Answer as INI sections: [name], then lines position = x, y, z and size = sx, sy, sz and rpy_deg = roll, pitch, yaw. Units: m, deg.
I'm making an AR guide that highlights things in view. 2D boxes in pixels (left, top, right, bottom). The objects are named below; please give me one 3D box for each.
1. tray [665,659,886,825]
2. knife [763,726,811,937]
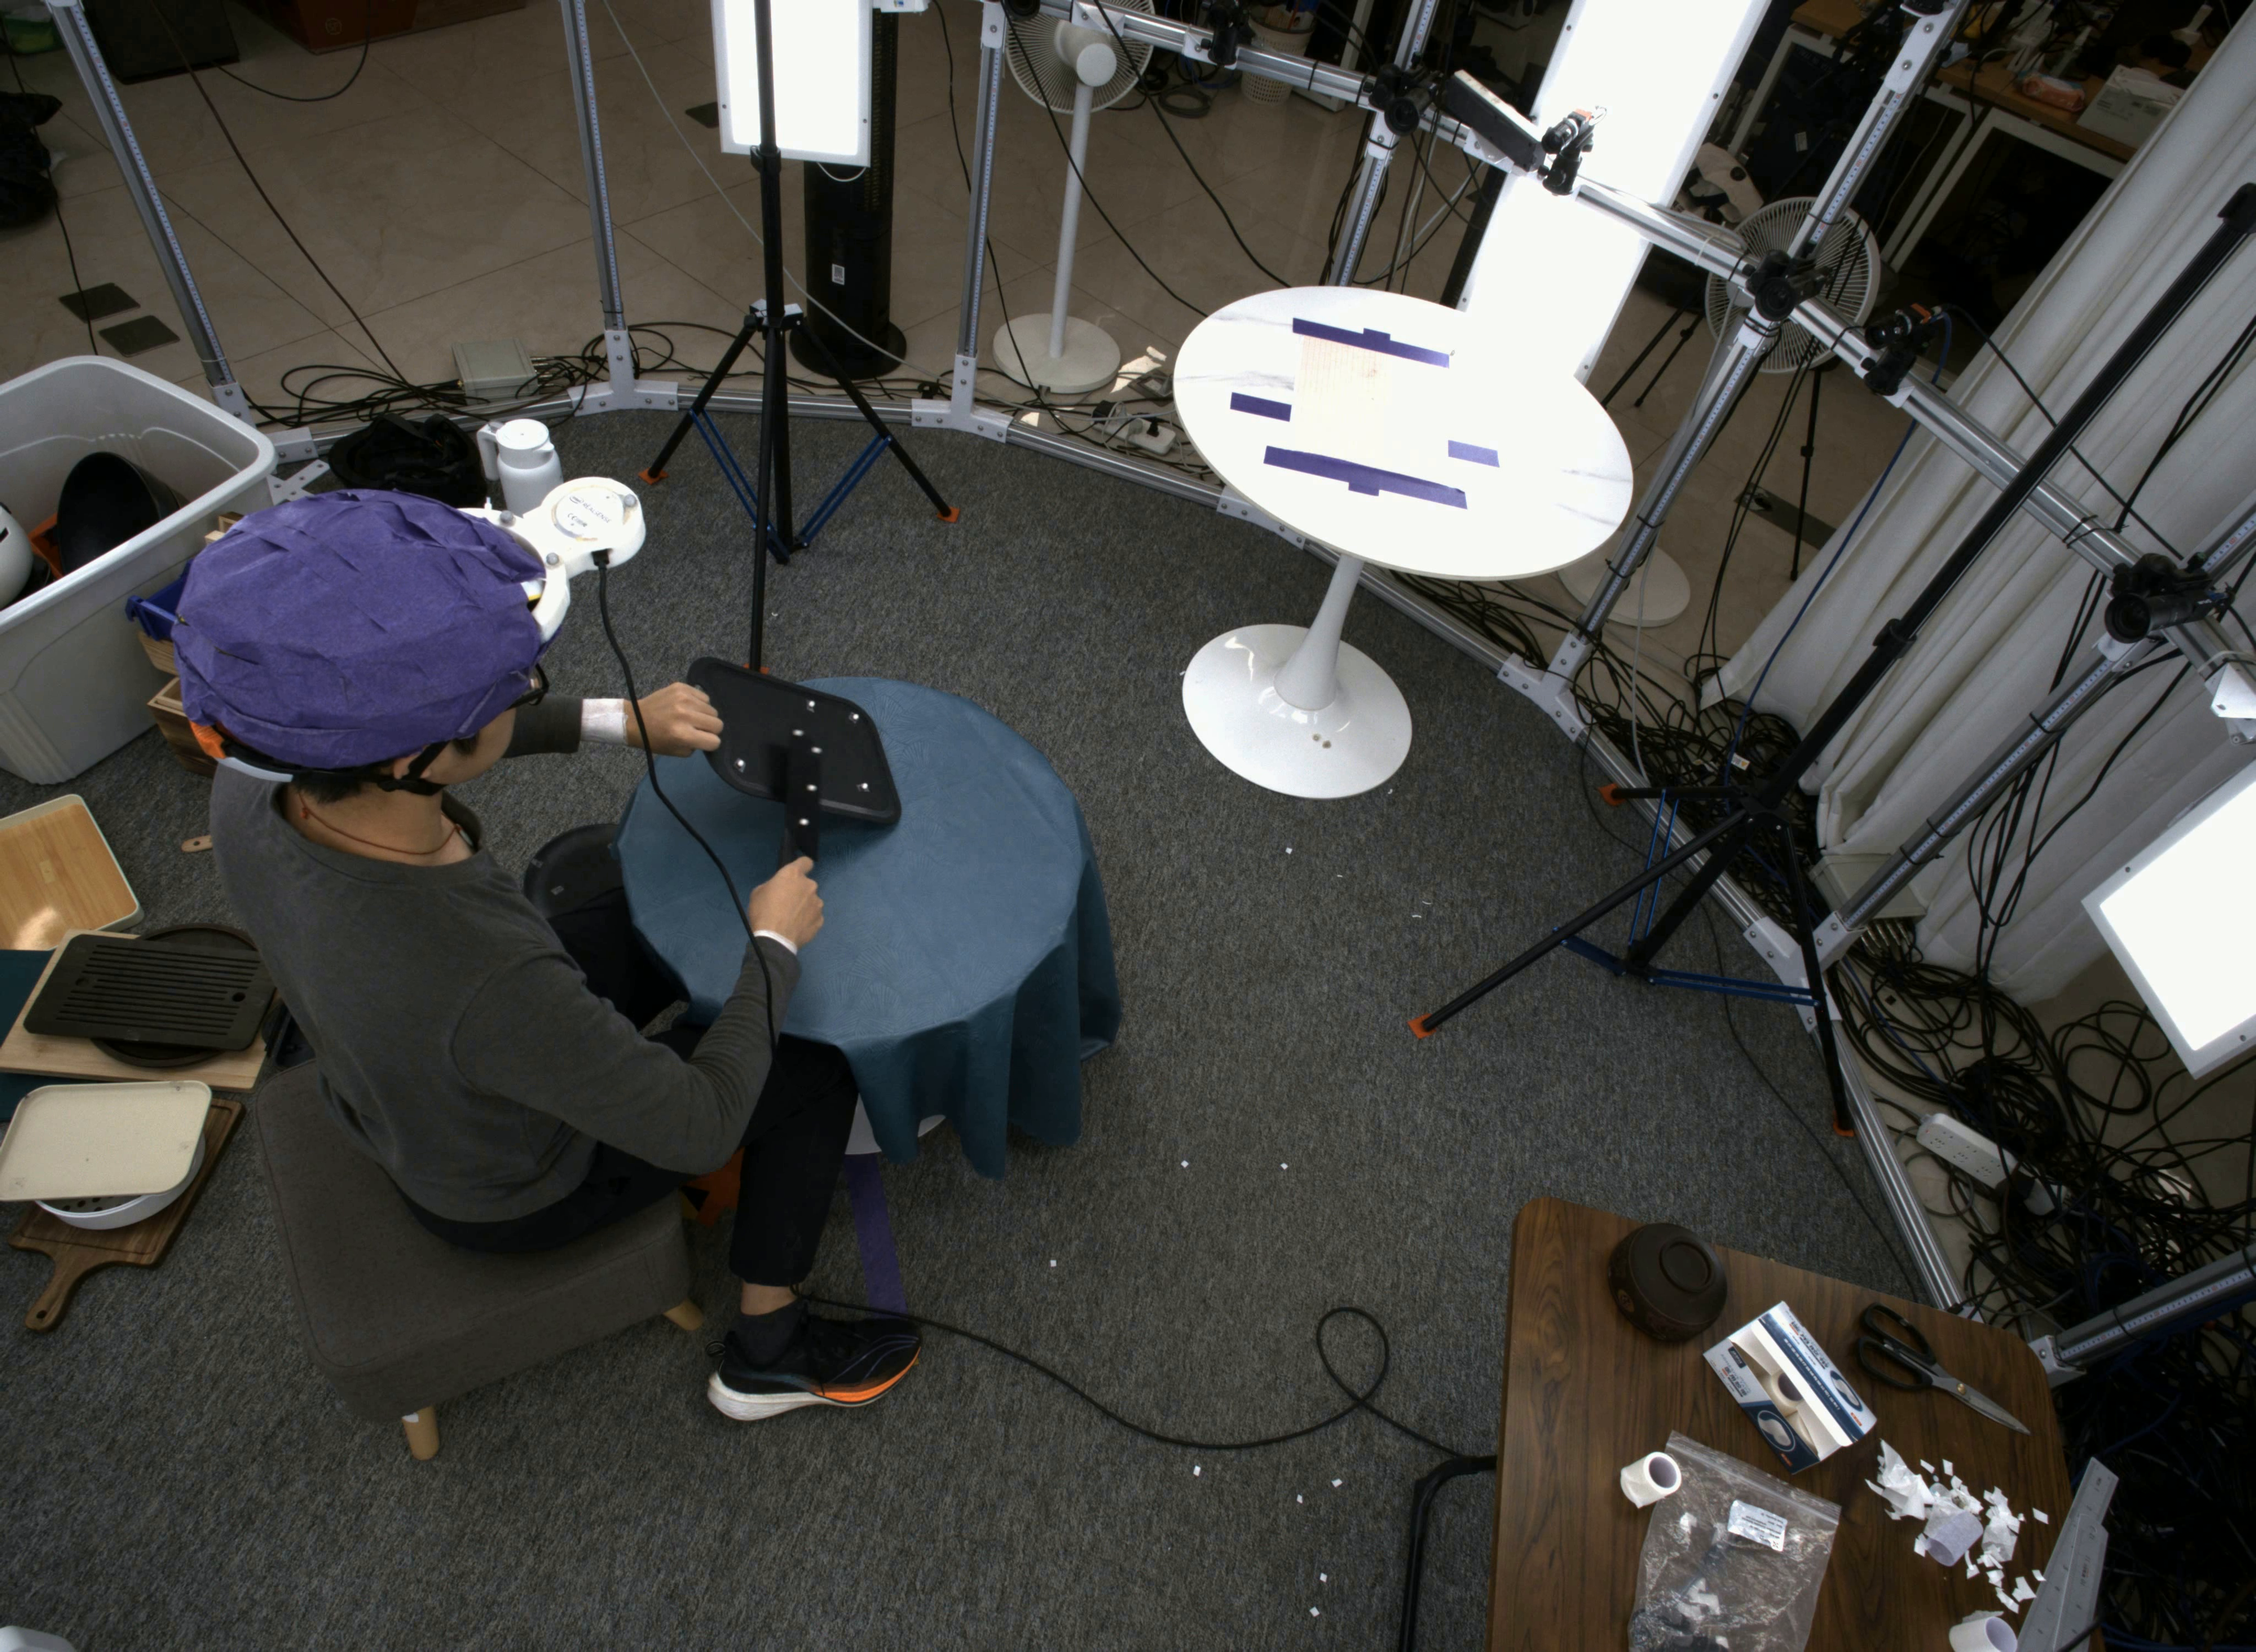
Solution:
[tray]
position = -0.453, -0.108, 1.673
size = 0.334, 0.010, 0.207
rpy_deg = 15, 46, -52
[knife]
position = -0.417, 0.004, 1.590
size = 0.020, 0.084, 0.296
rpy_deg = -20, 49, 19
